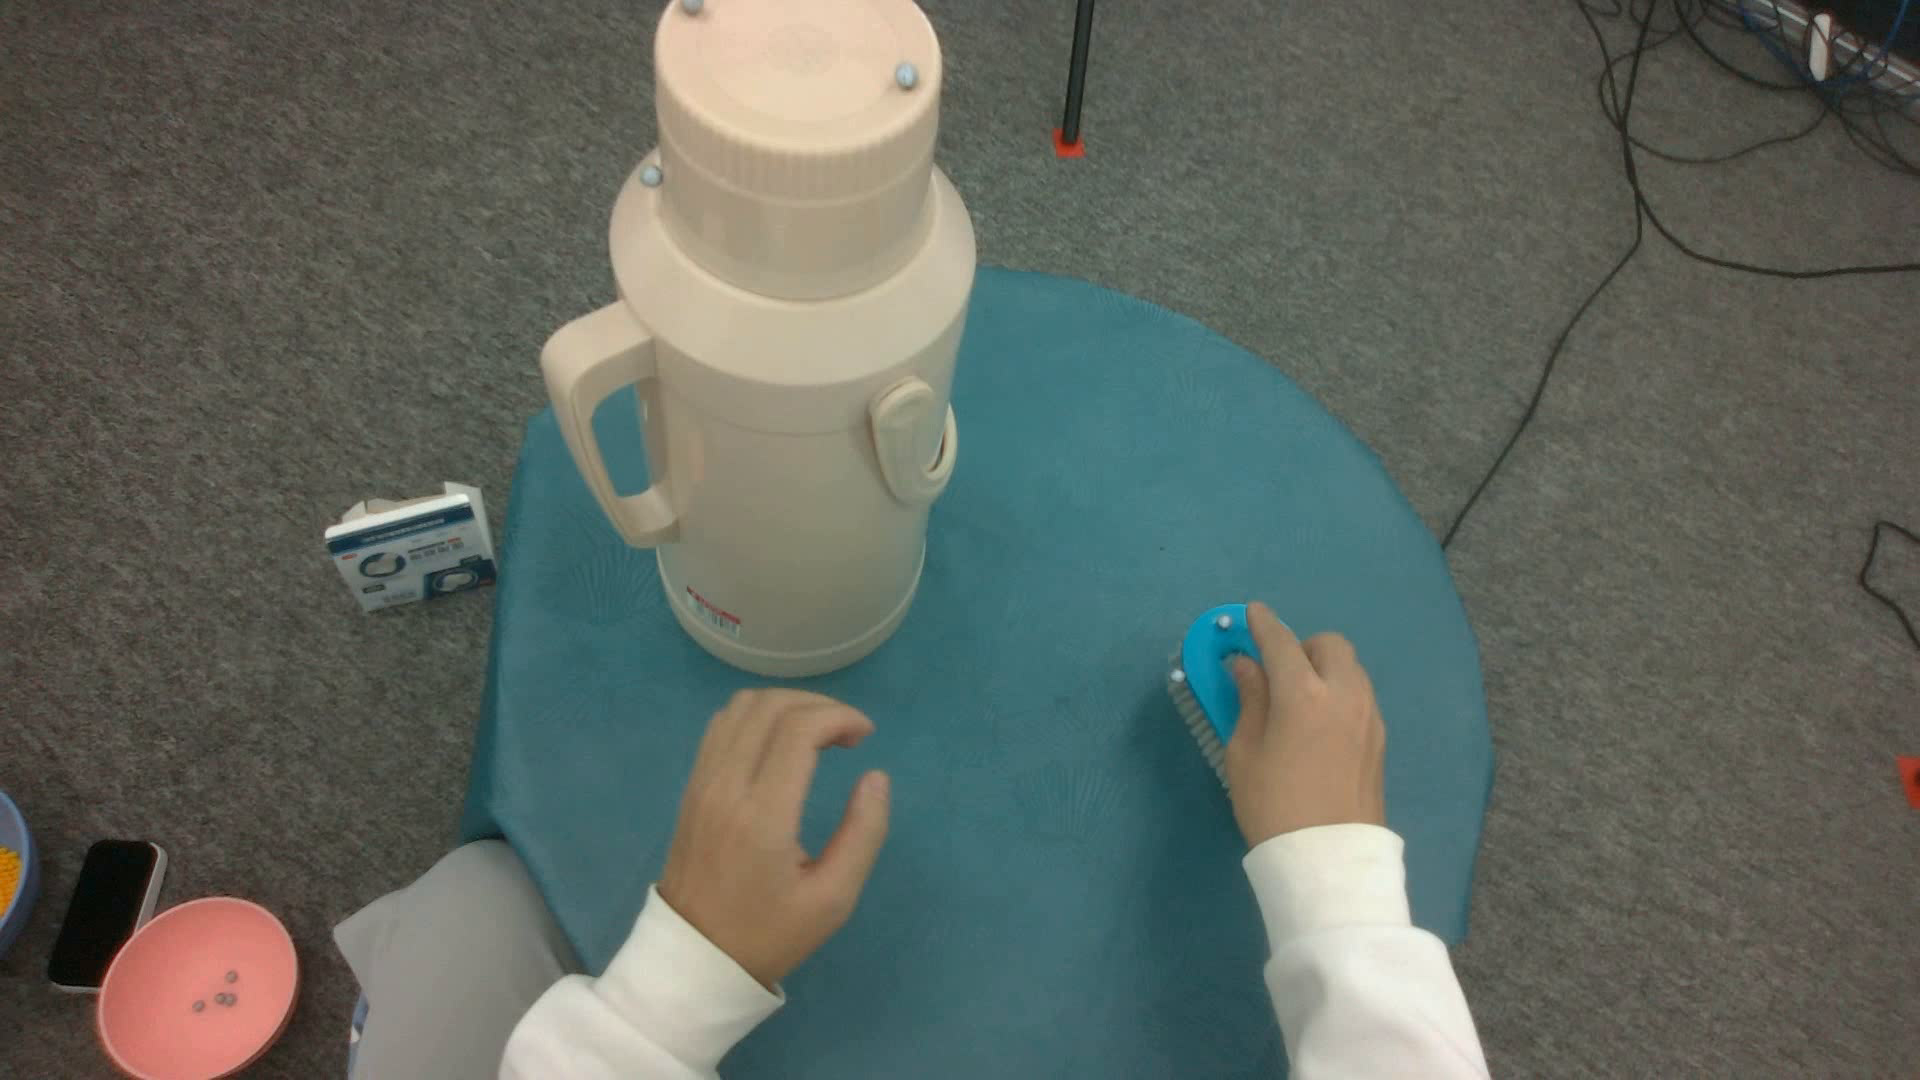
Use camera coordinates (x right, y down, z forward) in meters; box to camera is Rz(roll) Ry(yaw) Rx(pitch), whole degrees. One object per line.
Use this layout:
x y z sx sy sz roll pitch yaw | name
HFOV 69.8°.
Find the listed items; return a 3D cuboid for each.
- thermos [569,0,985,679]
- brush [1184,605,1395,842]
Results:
-0.086 -0.074 0.689 0.208 0.404 0.175 -32 69 -21 | thermos
0.190 0.094 0.772 0.084 0.063 0.142 -20 66 -20 | brush
